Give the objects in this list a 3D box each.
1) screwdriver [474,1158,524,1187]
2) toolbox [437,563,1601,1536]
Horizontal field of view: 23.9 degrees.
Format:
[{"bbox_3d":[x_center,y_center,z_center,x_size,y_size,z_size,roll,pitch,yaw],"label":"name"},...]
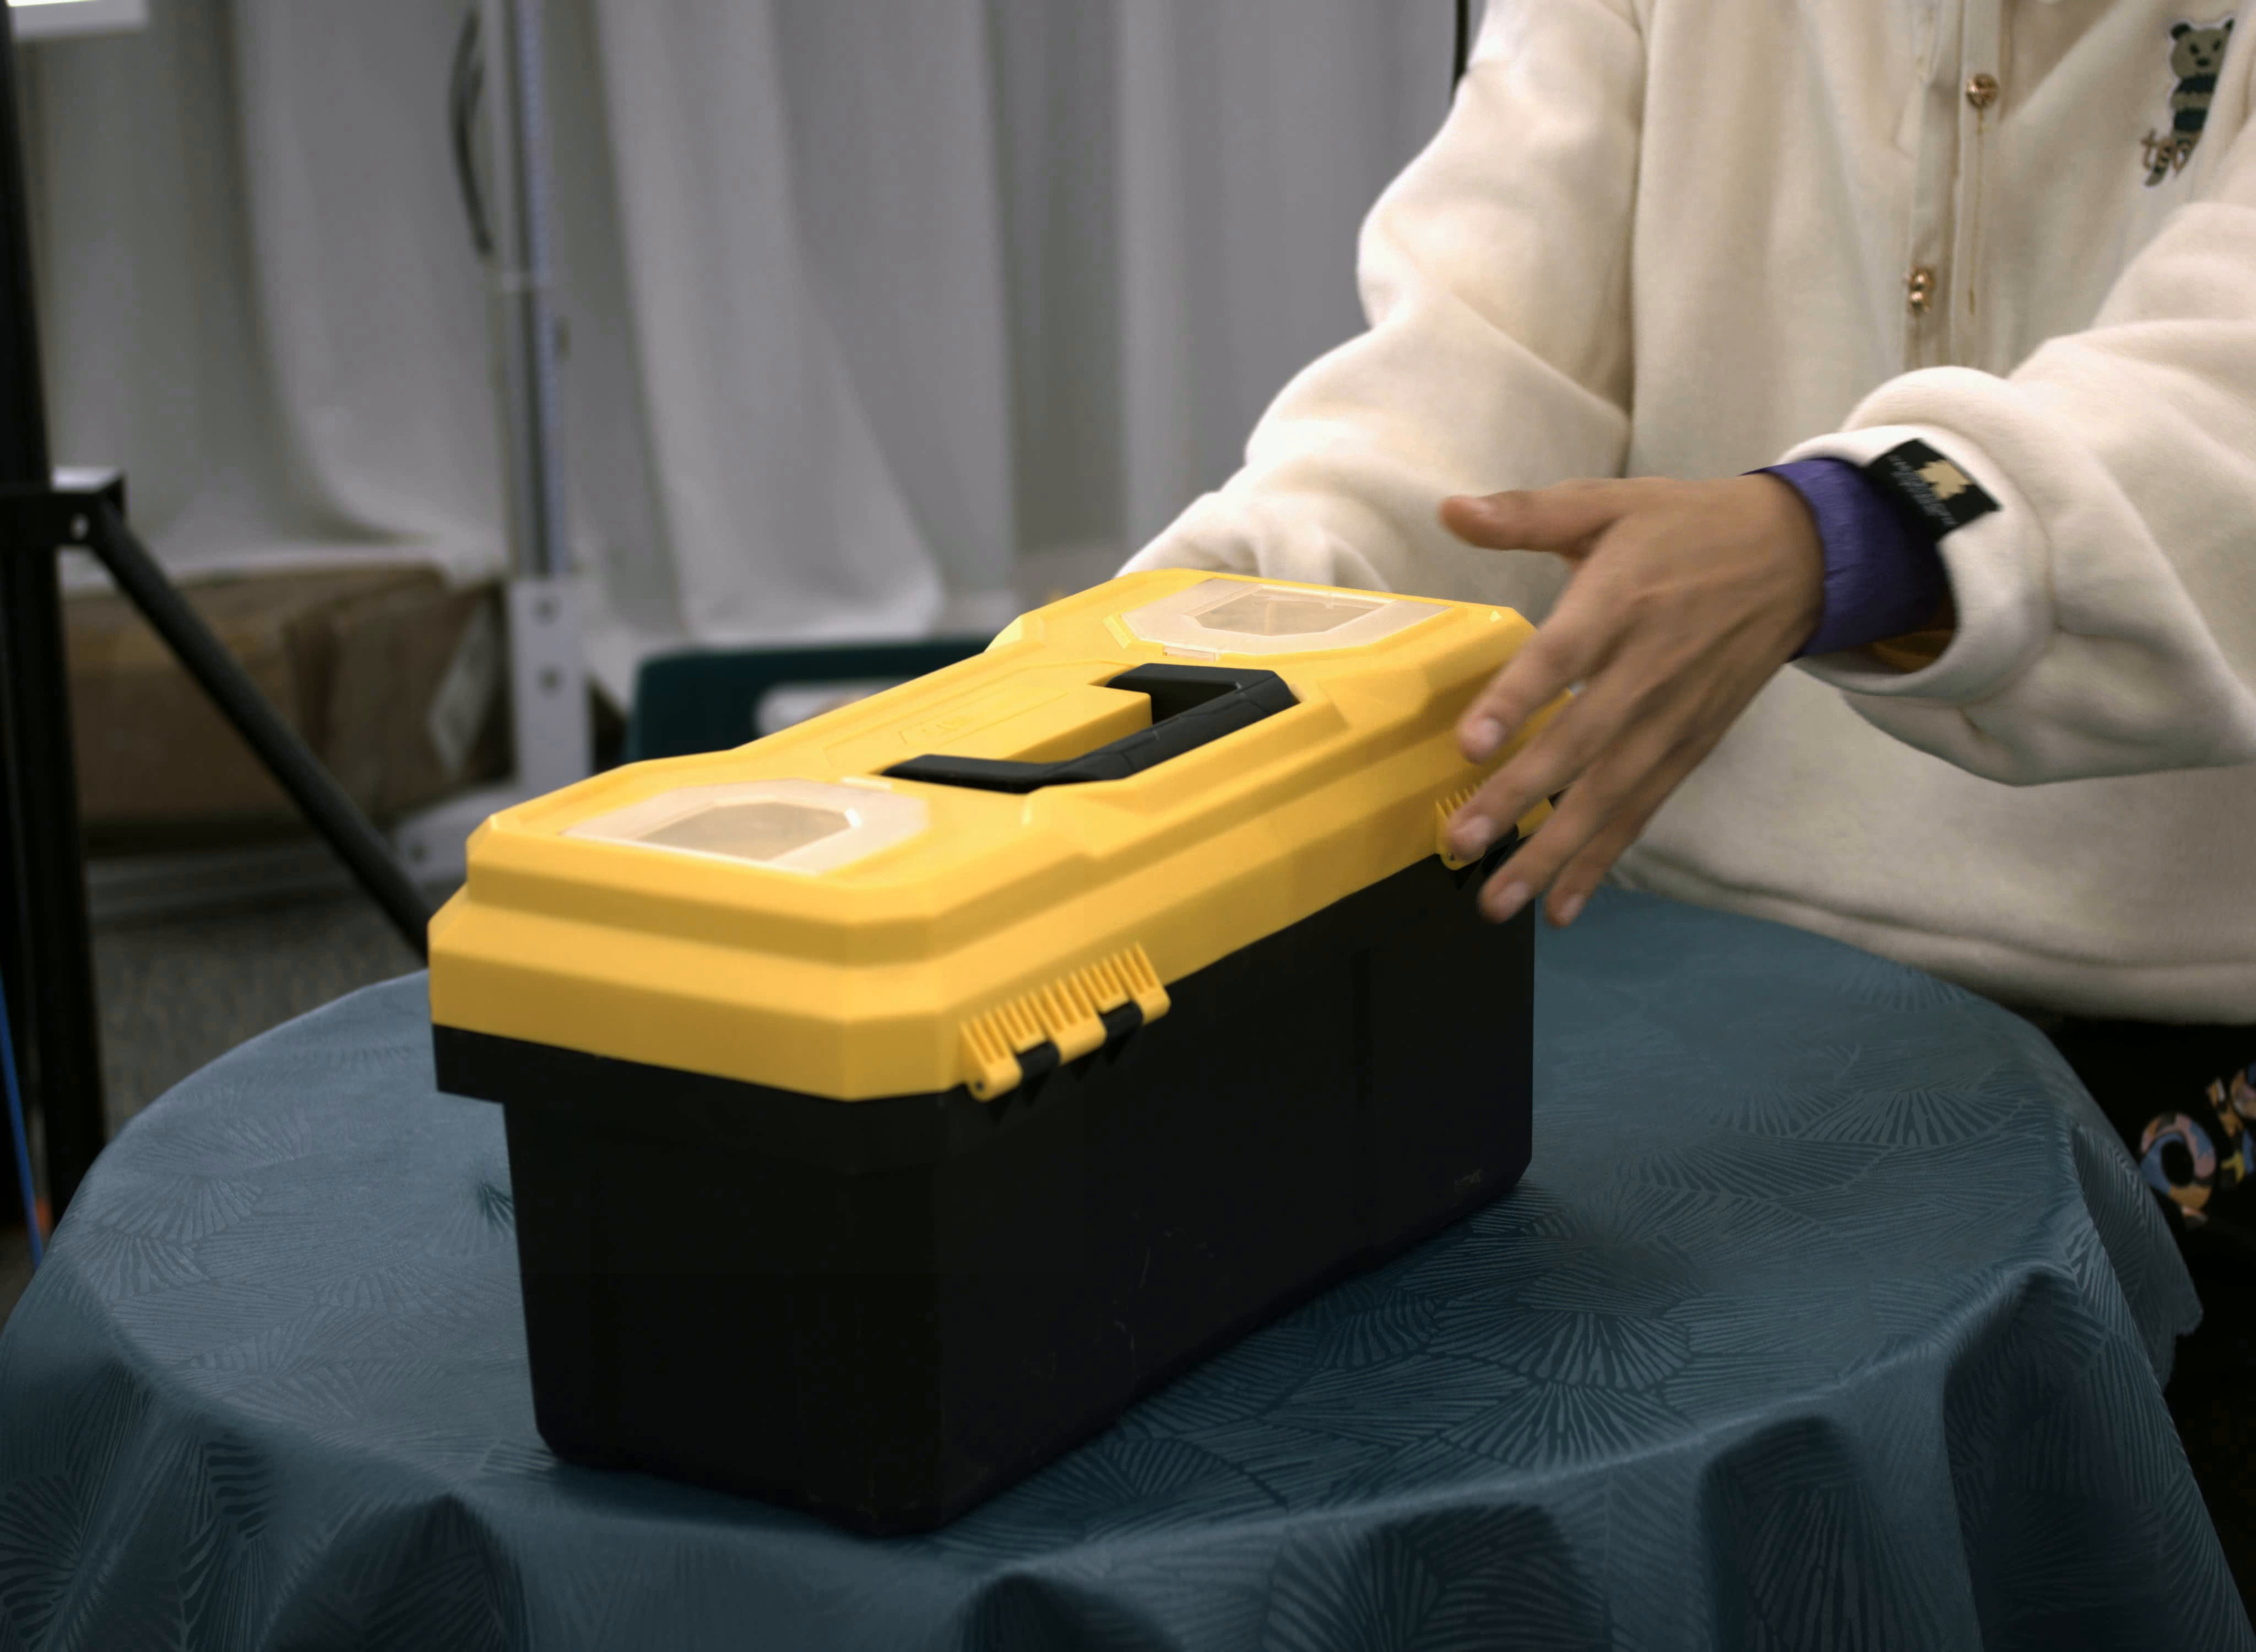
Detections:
[{"bbox_3d":[-0.130,0.083,1.648,0.032,0.031,0.194,11,25,39],"label":"screwdriver"},{"bbox_3d":[-0.021,0.051,1.446,0.185,0.173,0.344,8,19,35],"label":"toolbox"}]
